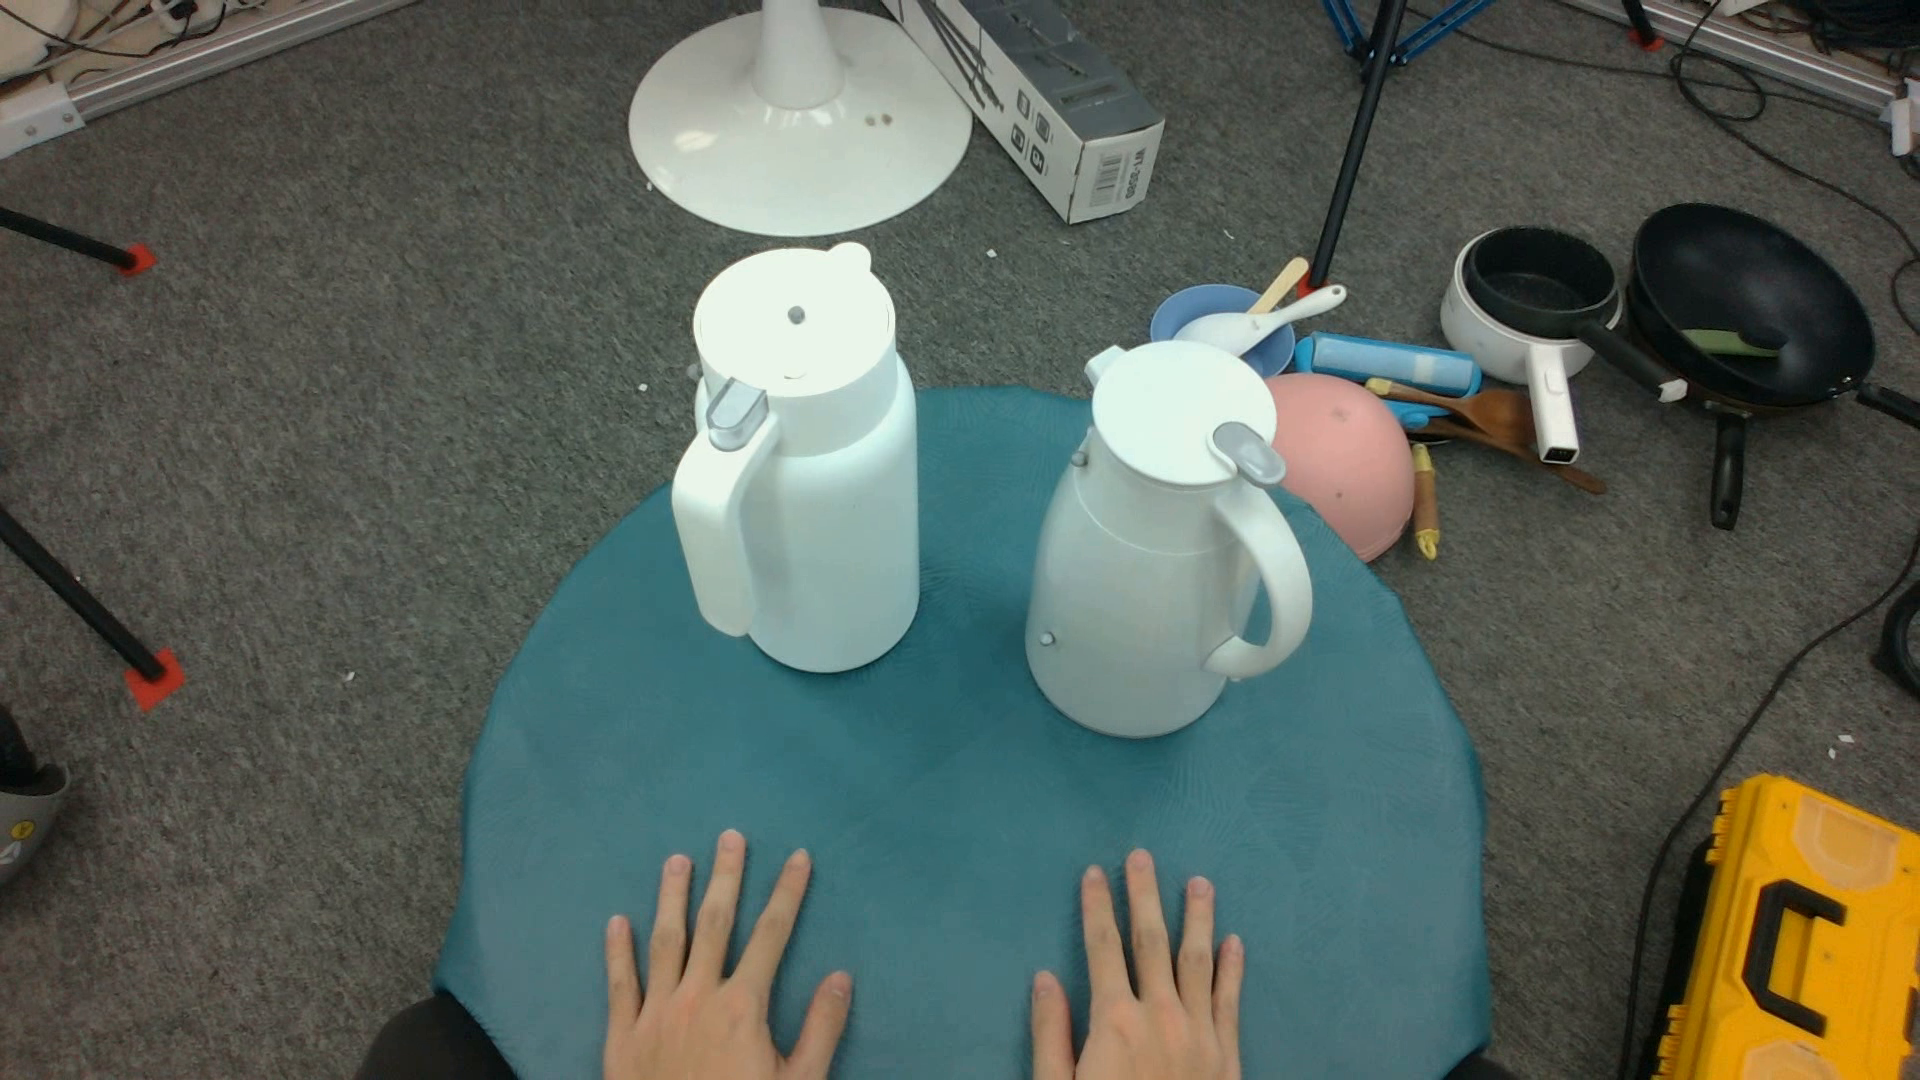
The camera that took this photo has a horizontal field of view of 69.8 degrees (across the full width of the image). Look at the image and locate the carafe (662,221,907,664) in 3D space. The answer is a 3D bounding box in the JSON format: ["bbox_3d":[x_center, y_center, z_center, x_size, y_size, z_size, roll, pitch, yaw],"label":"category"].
[{"bbox_3d":[-0.095,-0.027,0.771,0.124,0.267,0.173,21,58,10],"label":"carafe"}]

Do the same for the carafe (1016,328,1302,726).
[{"bbox_3d":[0.116,0.005,0.769,0.133,0.247,0.168,-34,64,-21],"label":"carafe"}]
